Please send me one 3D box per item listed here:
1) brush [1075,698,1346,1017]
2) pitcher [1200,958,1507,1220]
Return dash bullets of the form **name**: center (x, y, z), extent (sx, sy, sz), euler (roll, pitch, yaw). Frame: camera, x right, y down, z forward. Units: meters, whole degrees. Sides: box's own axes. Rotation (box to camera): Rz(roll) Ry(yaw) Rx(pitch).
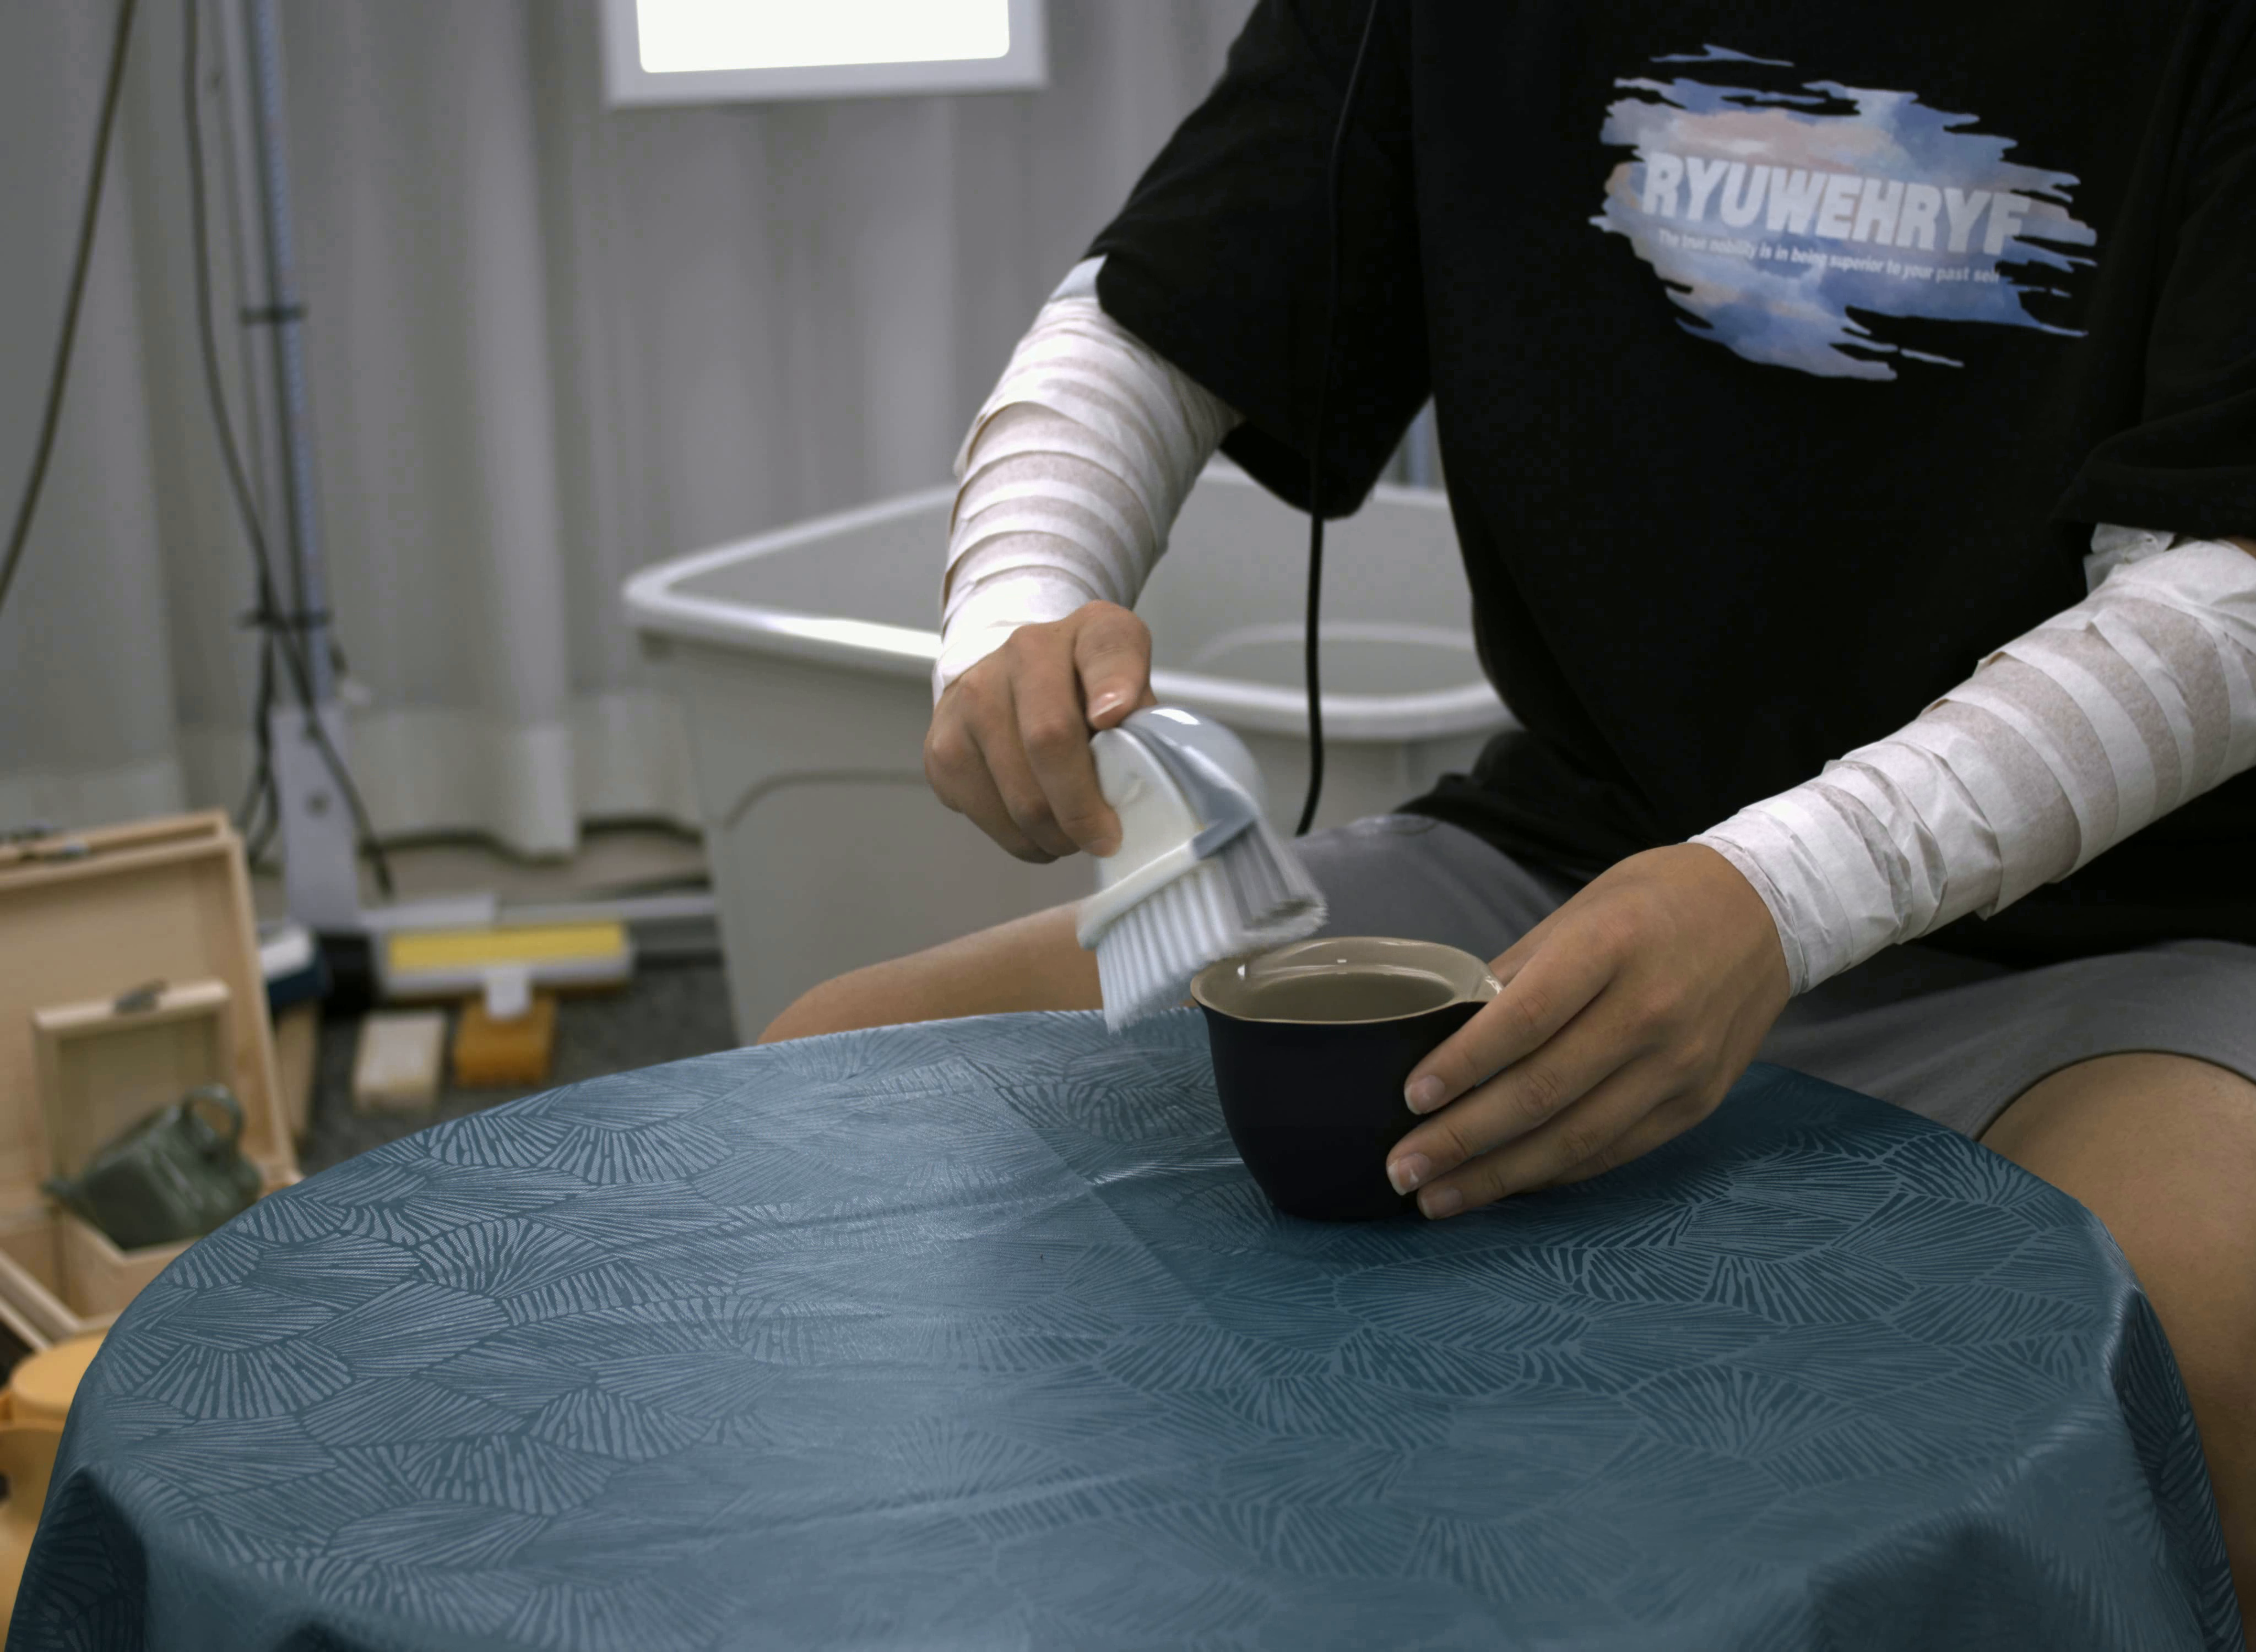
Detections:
- **brush**: center (0.023, 0.001, 1.740), extent (0.061, 0.094, 0.175), euler (-23, -4, -16)
- **pitcher**: center (0.069, 0.081, 1.686), extent (0.096, 0.071, 0.084), euler (5, 14, 19)
